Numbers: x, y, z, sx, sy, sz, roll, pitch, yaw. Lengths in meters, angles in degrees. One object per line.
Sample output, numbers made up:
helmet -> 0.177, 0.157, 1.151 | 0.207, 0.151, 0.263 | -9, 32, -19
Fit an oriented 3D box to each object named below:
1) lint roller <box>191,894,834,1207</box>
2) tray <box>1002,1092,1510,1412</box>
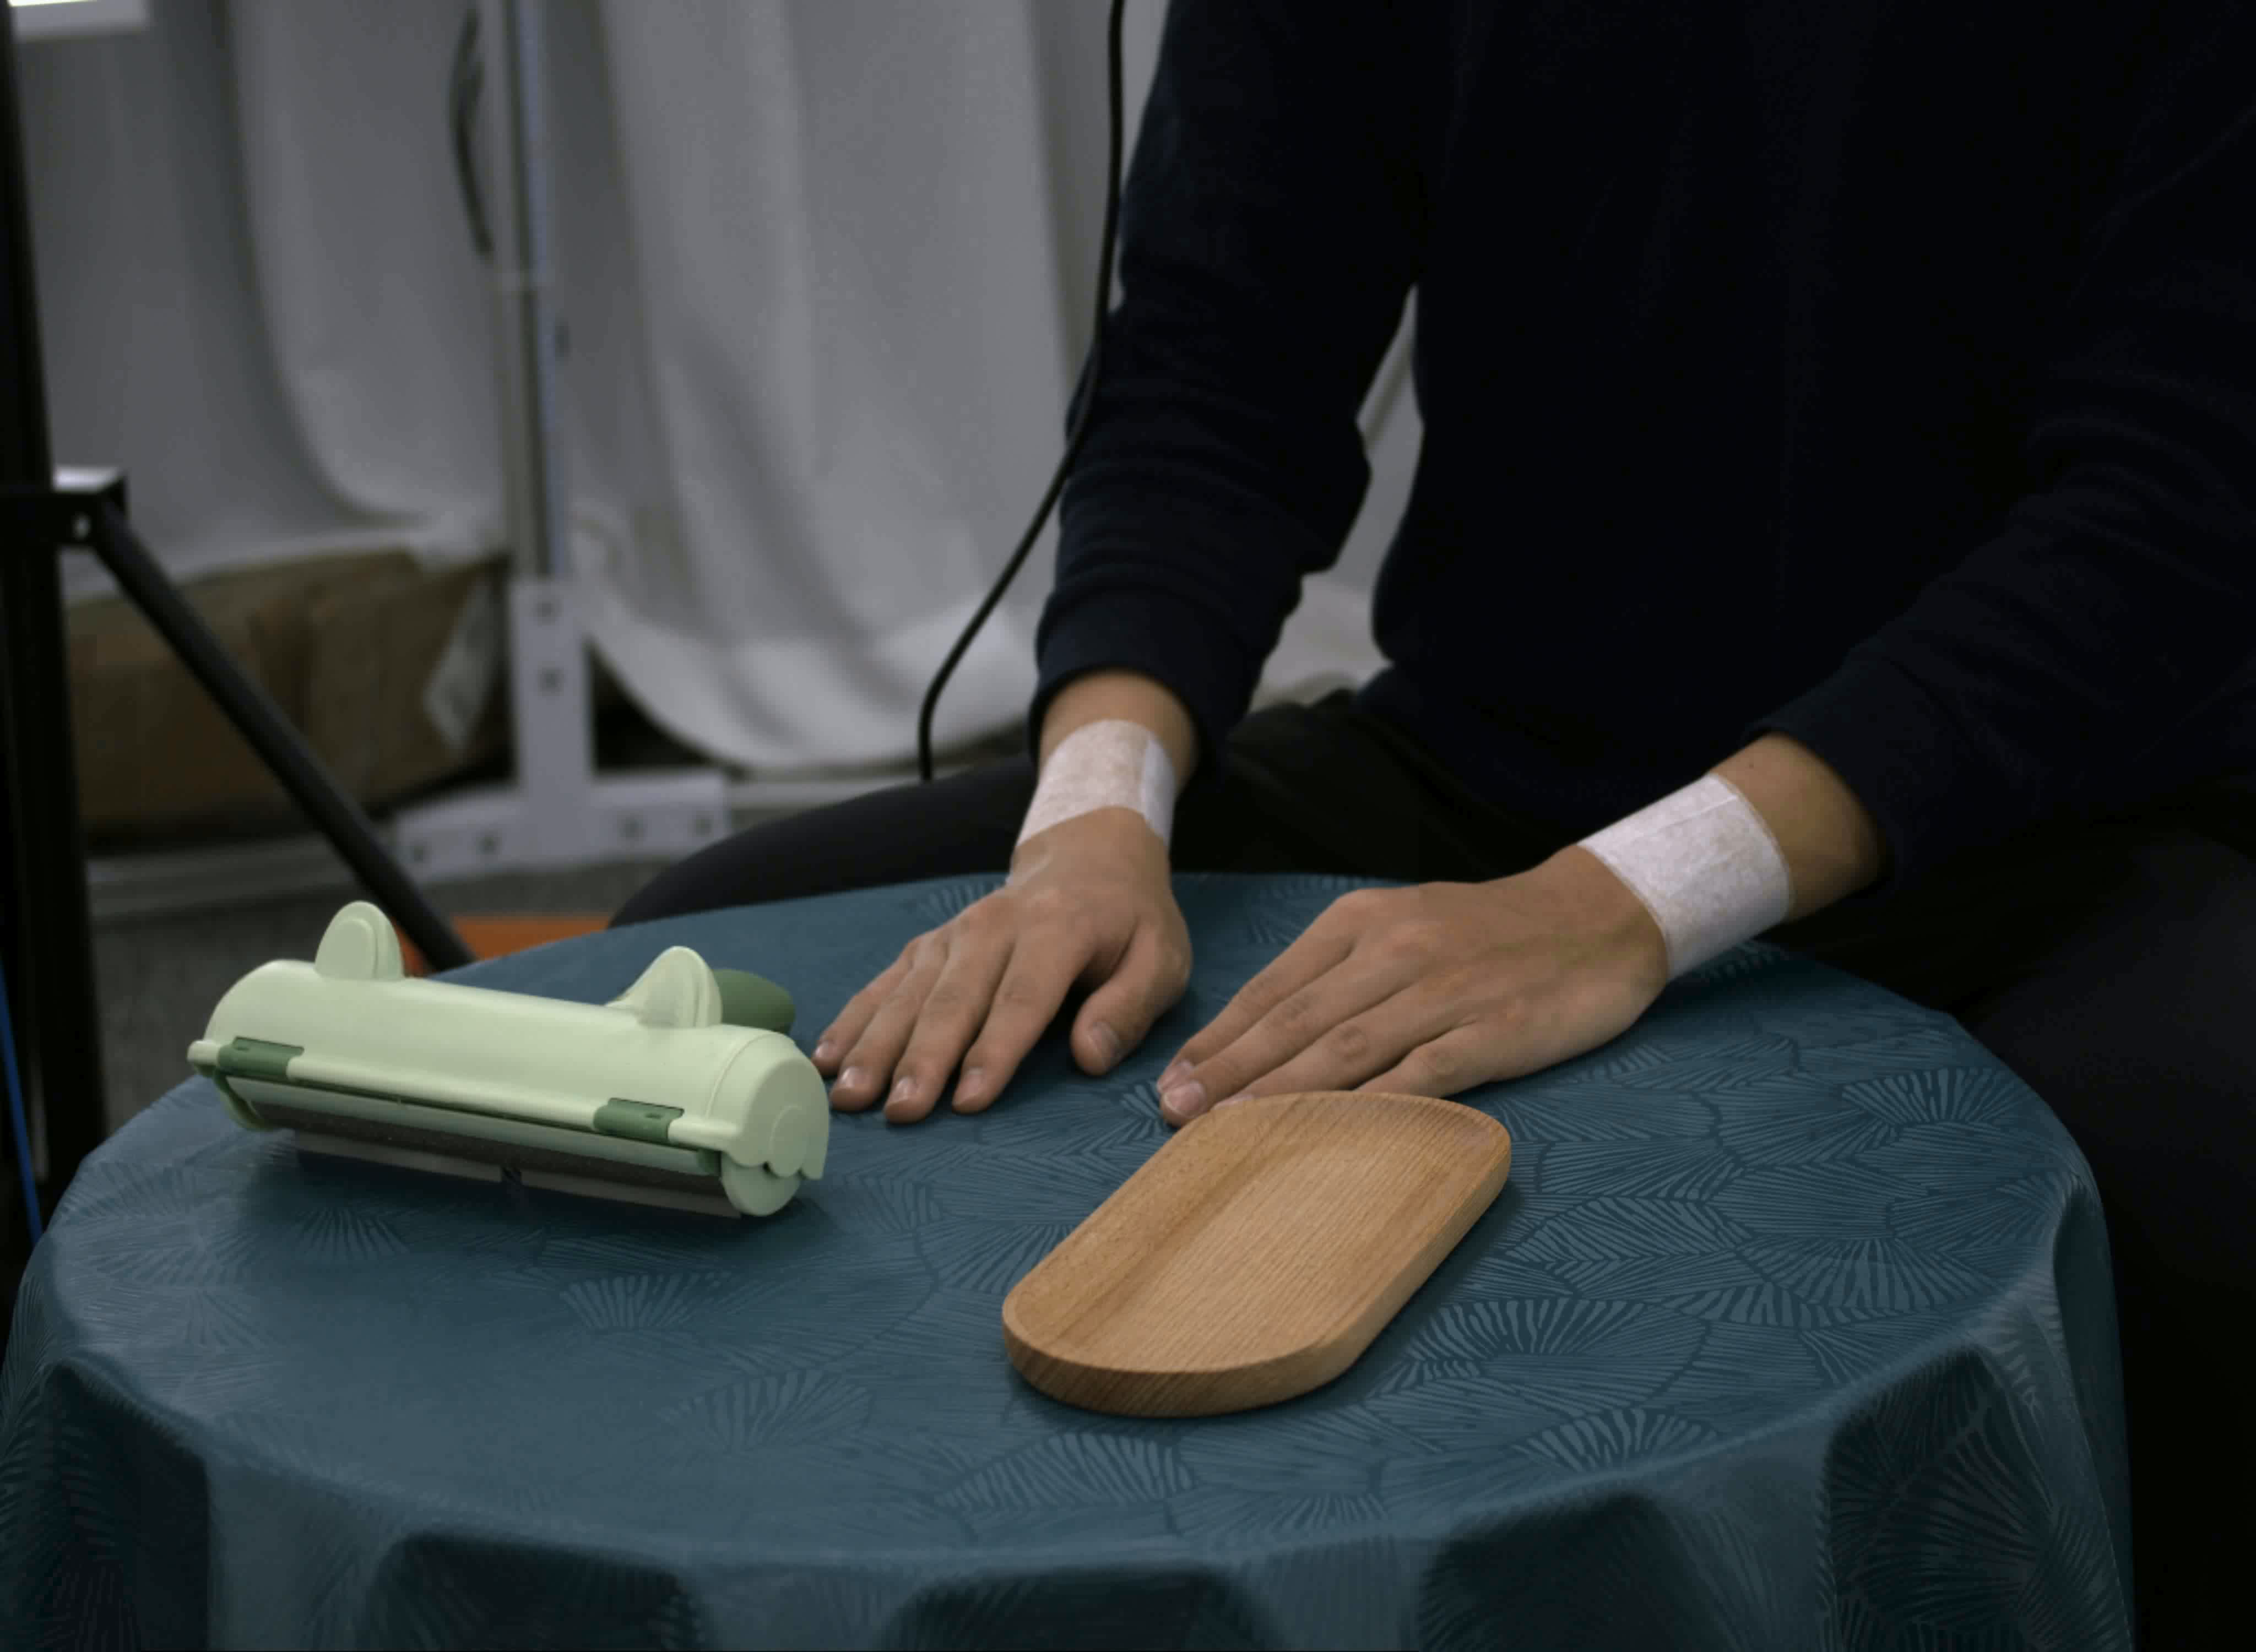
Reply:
lint roller -> -0.157, 0.049, 1.631 | 0.202, 0.082, 0.180 | 7, 24, 29
tray -> 0.039, 0.117, 1.489 | 0.103, 0.020, 0.228 | 4, 16, 20
